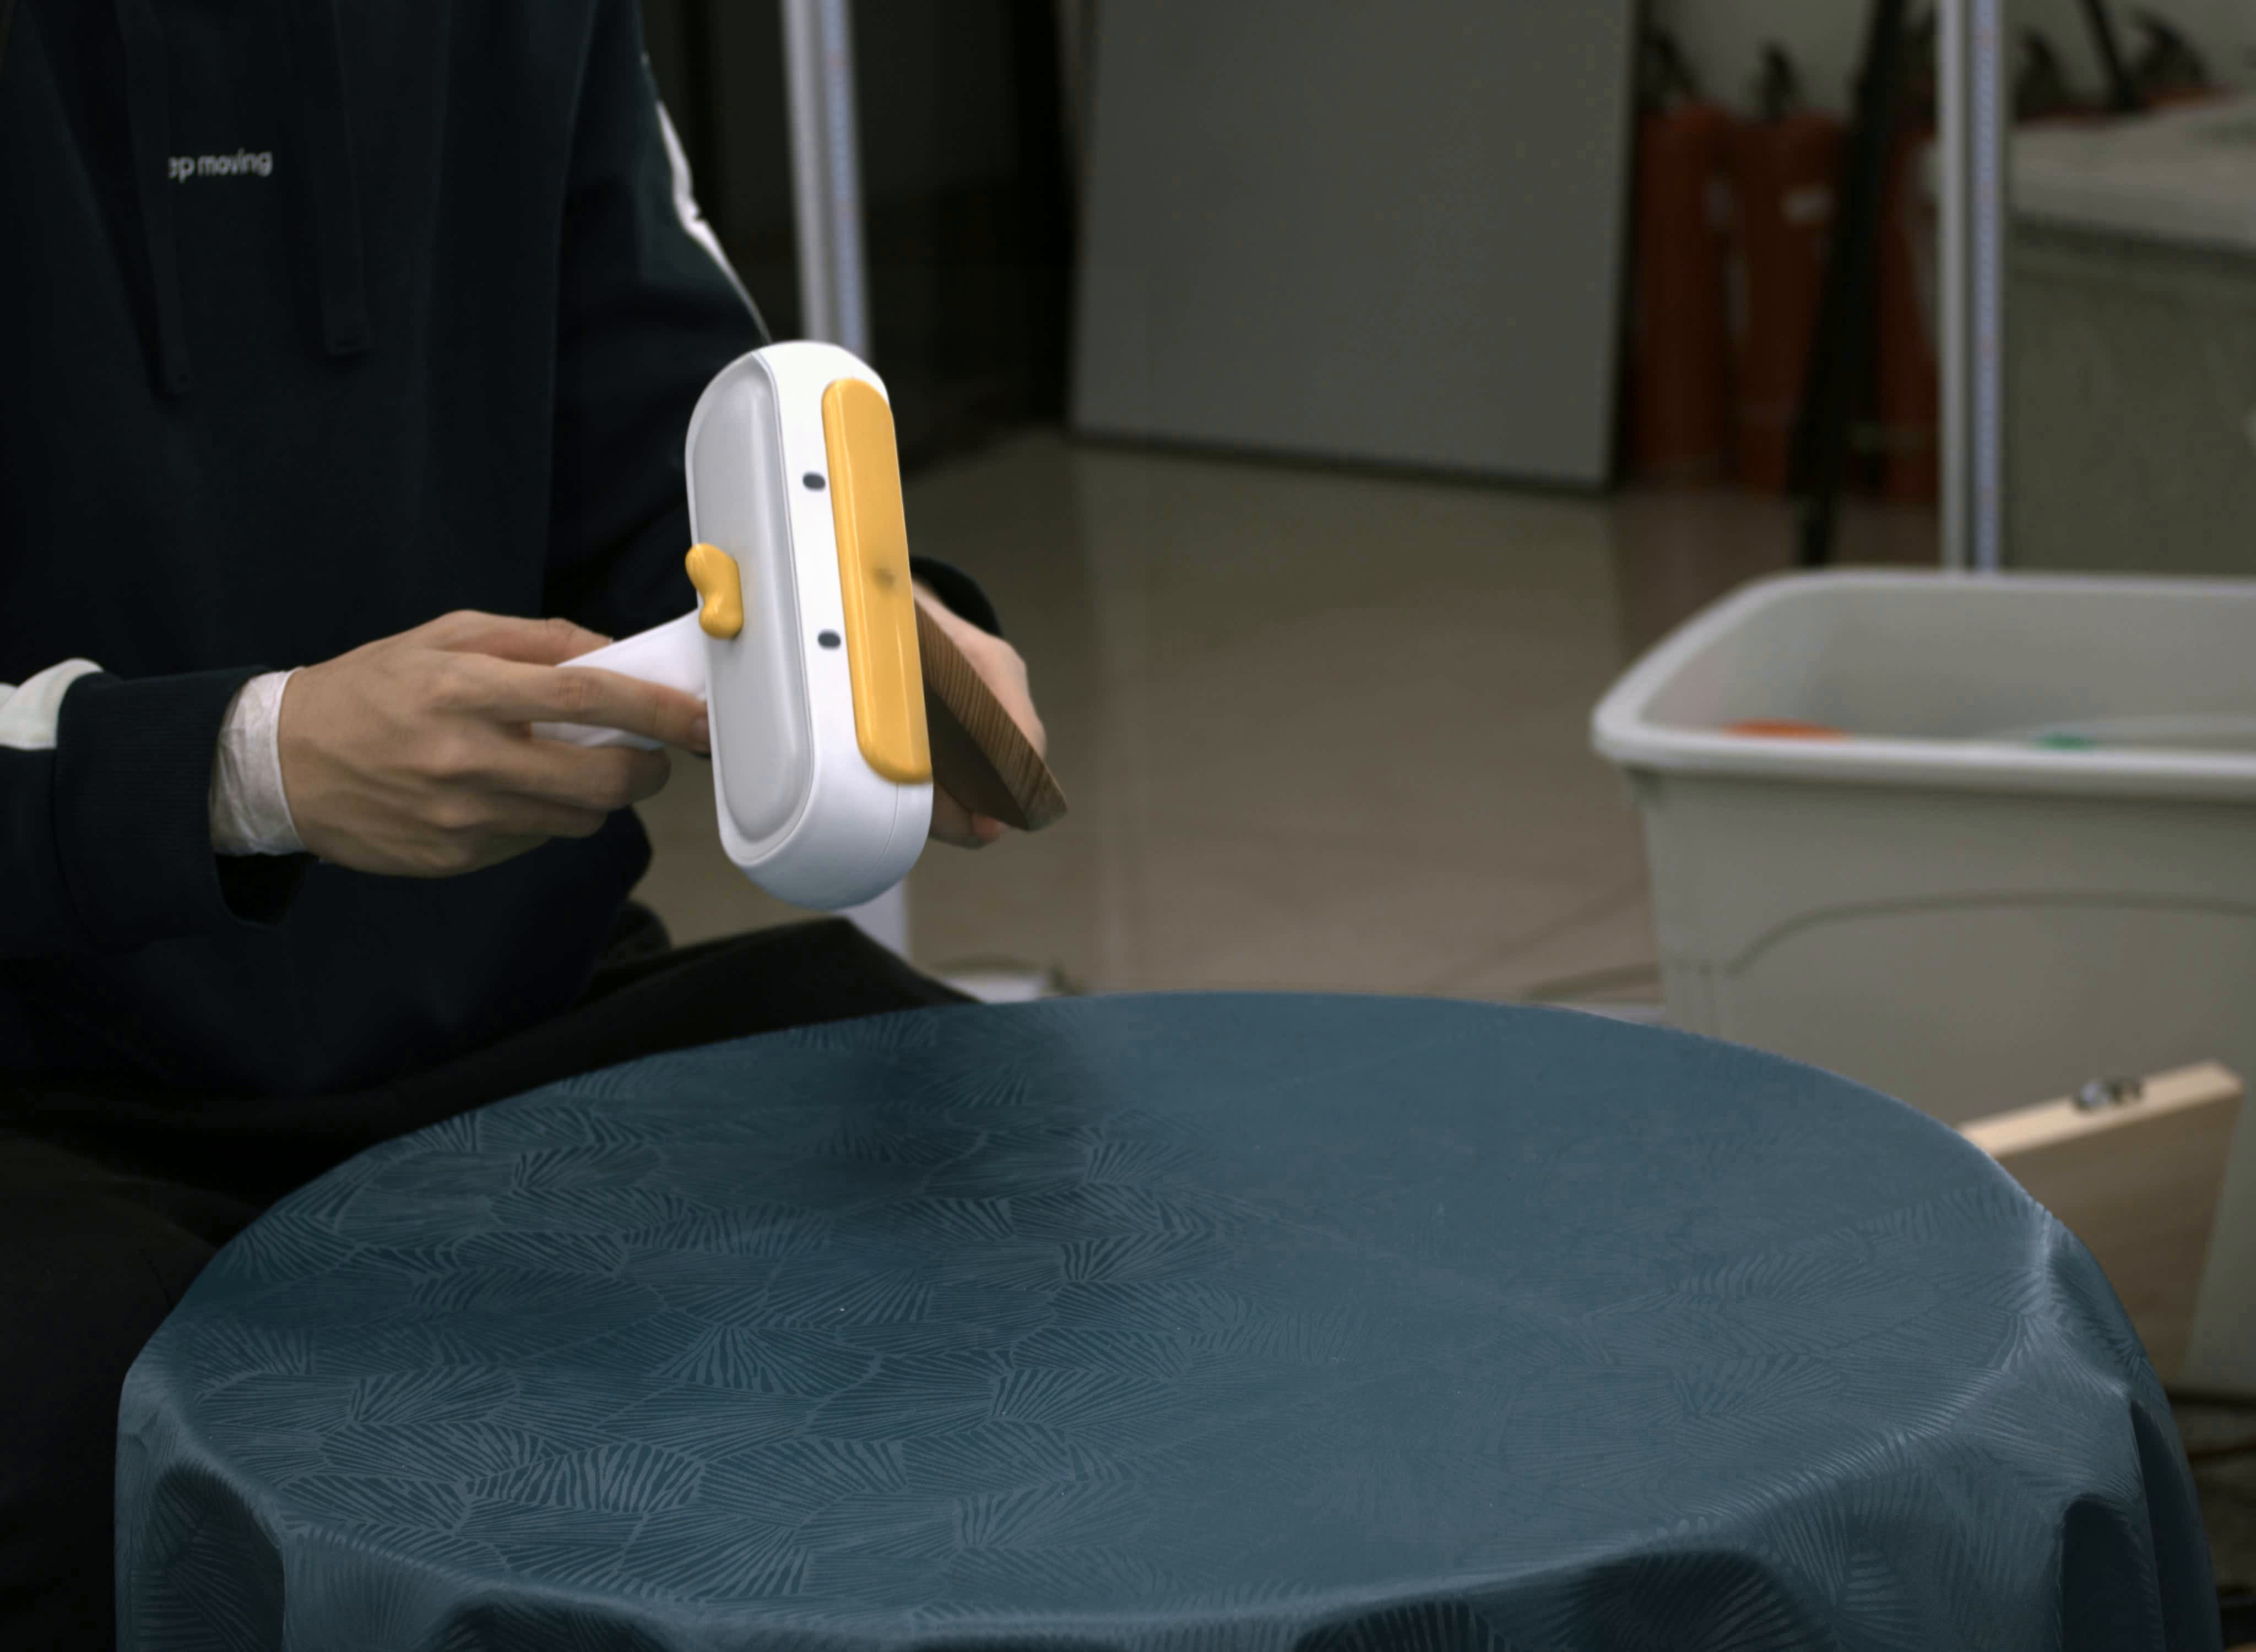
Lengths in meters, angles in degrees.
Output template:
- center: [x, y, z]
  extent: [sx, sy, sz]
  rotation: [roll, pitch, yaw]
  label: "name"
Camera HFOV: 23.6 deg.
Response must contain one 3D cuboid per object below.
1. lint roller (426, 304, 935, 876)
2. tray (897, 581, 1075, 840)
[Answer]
- center: [-0.148, -0.050, 1.748]
  extent: [0.072, 0.195, 0.194]
  rotation: [14, -37, -44]
  label: "lint roller"
- center: [-0.069, -0.042, 1.819]
  extent: [0.020, 0.101, 0.232]
  rotation: [-39, 11, -6]
  label: "tray"
